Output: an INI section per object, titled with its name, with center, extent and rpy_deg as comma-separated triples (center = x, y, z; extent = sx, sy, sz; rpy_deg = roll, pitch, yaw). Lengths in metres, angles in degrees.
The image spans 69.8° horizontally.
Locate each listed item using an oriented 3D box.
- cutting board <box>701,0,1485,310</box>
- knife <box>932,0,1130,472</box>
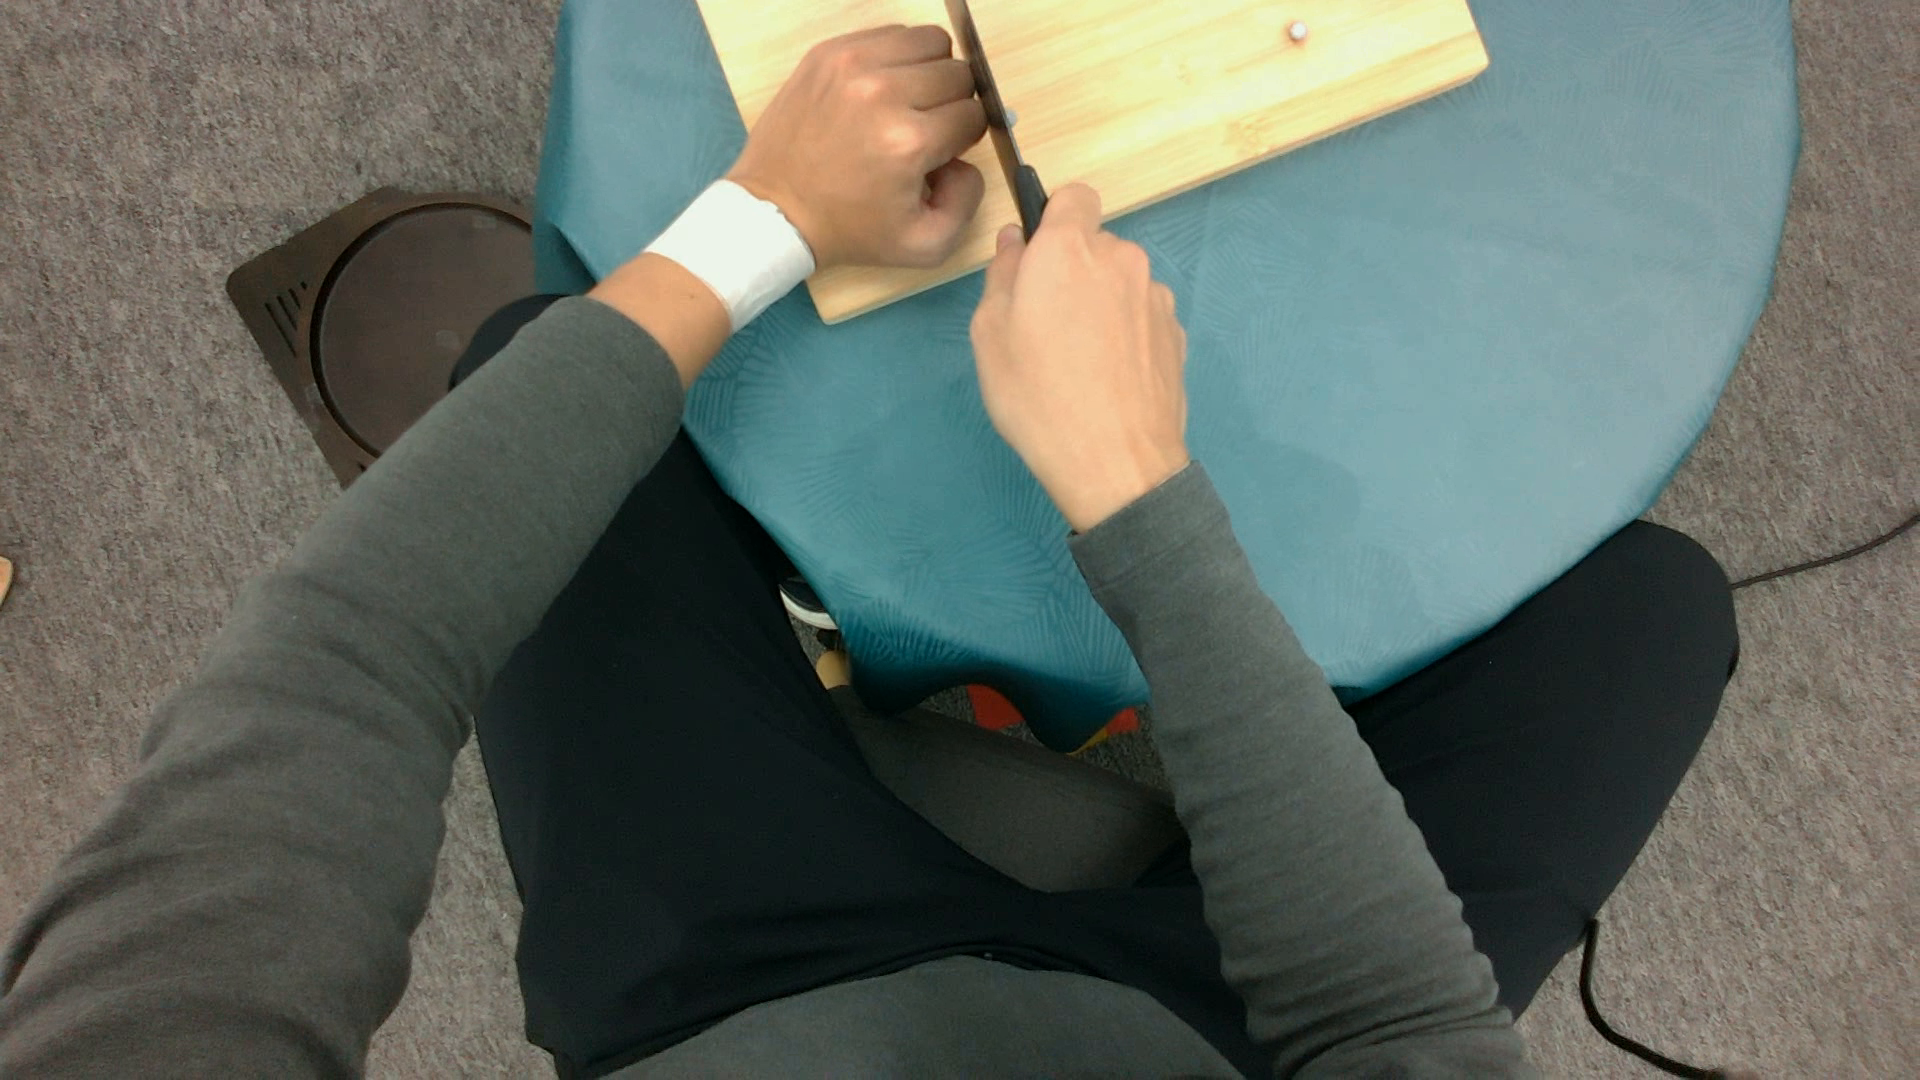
[cutting board]
center = 0.048, -0.281, 0.659
extent = 0.349, 0.023, 0.250
rpy_deg = -22, 90, -4
[knife]
center = 0.012, -0.172, 0.574
extent = 0.021, 0.081, 0.302
rpy_deg = -20, 85, 1
